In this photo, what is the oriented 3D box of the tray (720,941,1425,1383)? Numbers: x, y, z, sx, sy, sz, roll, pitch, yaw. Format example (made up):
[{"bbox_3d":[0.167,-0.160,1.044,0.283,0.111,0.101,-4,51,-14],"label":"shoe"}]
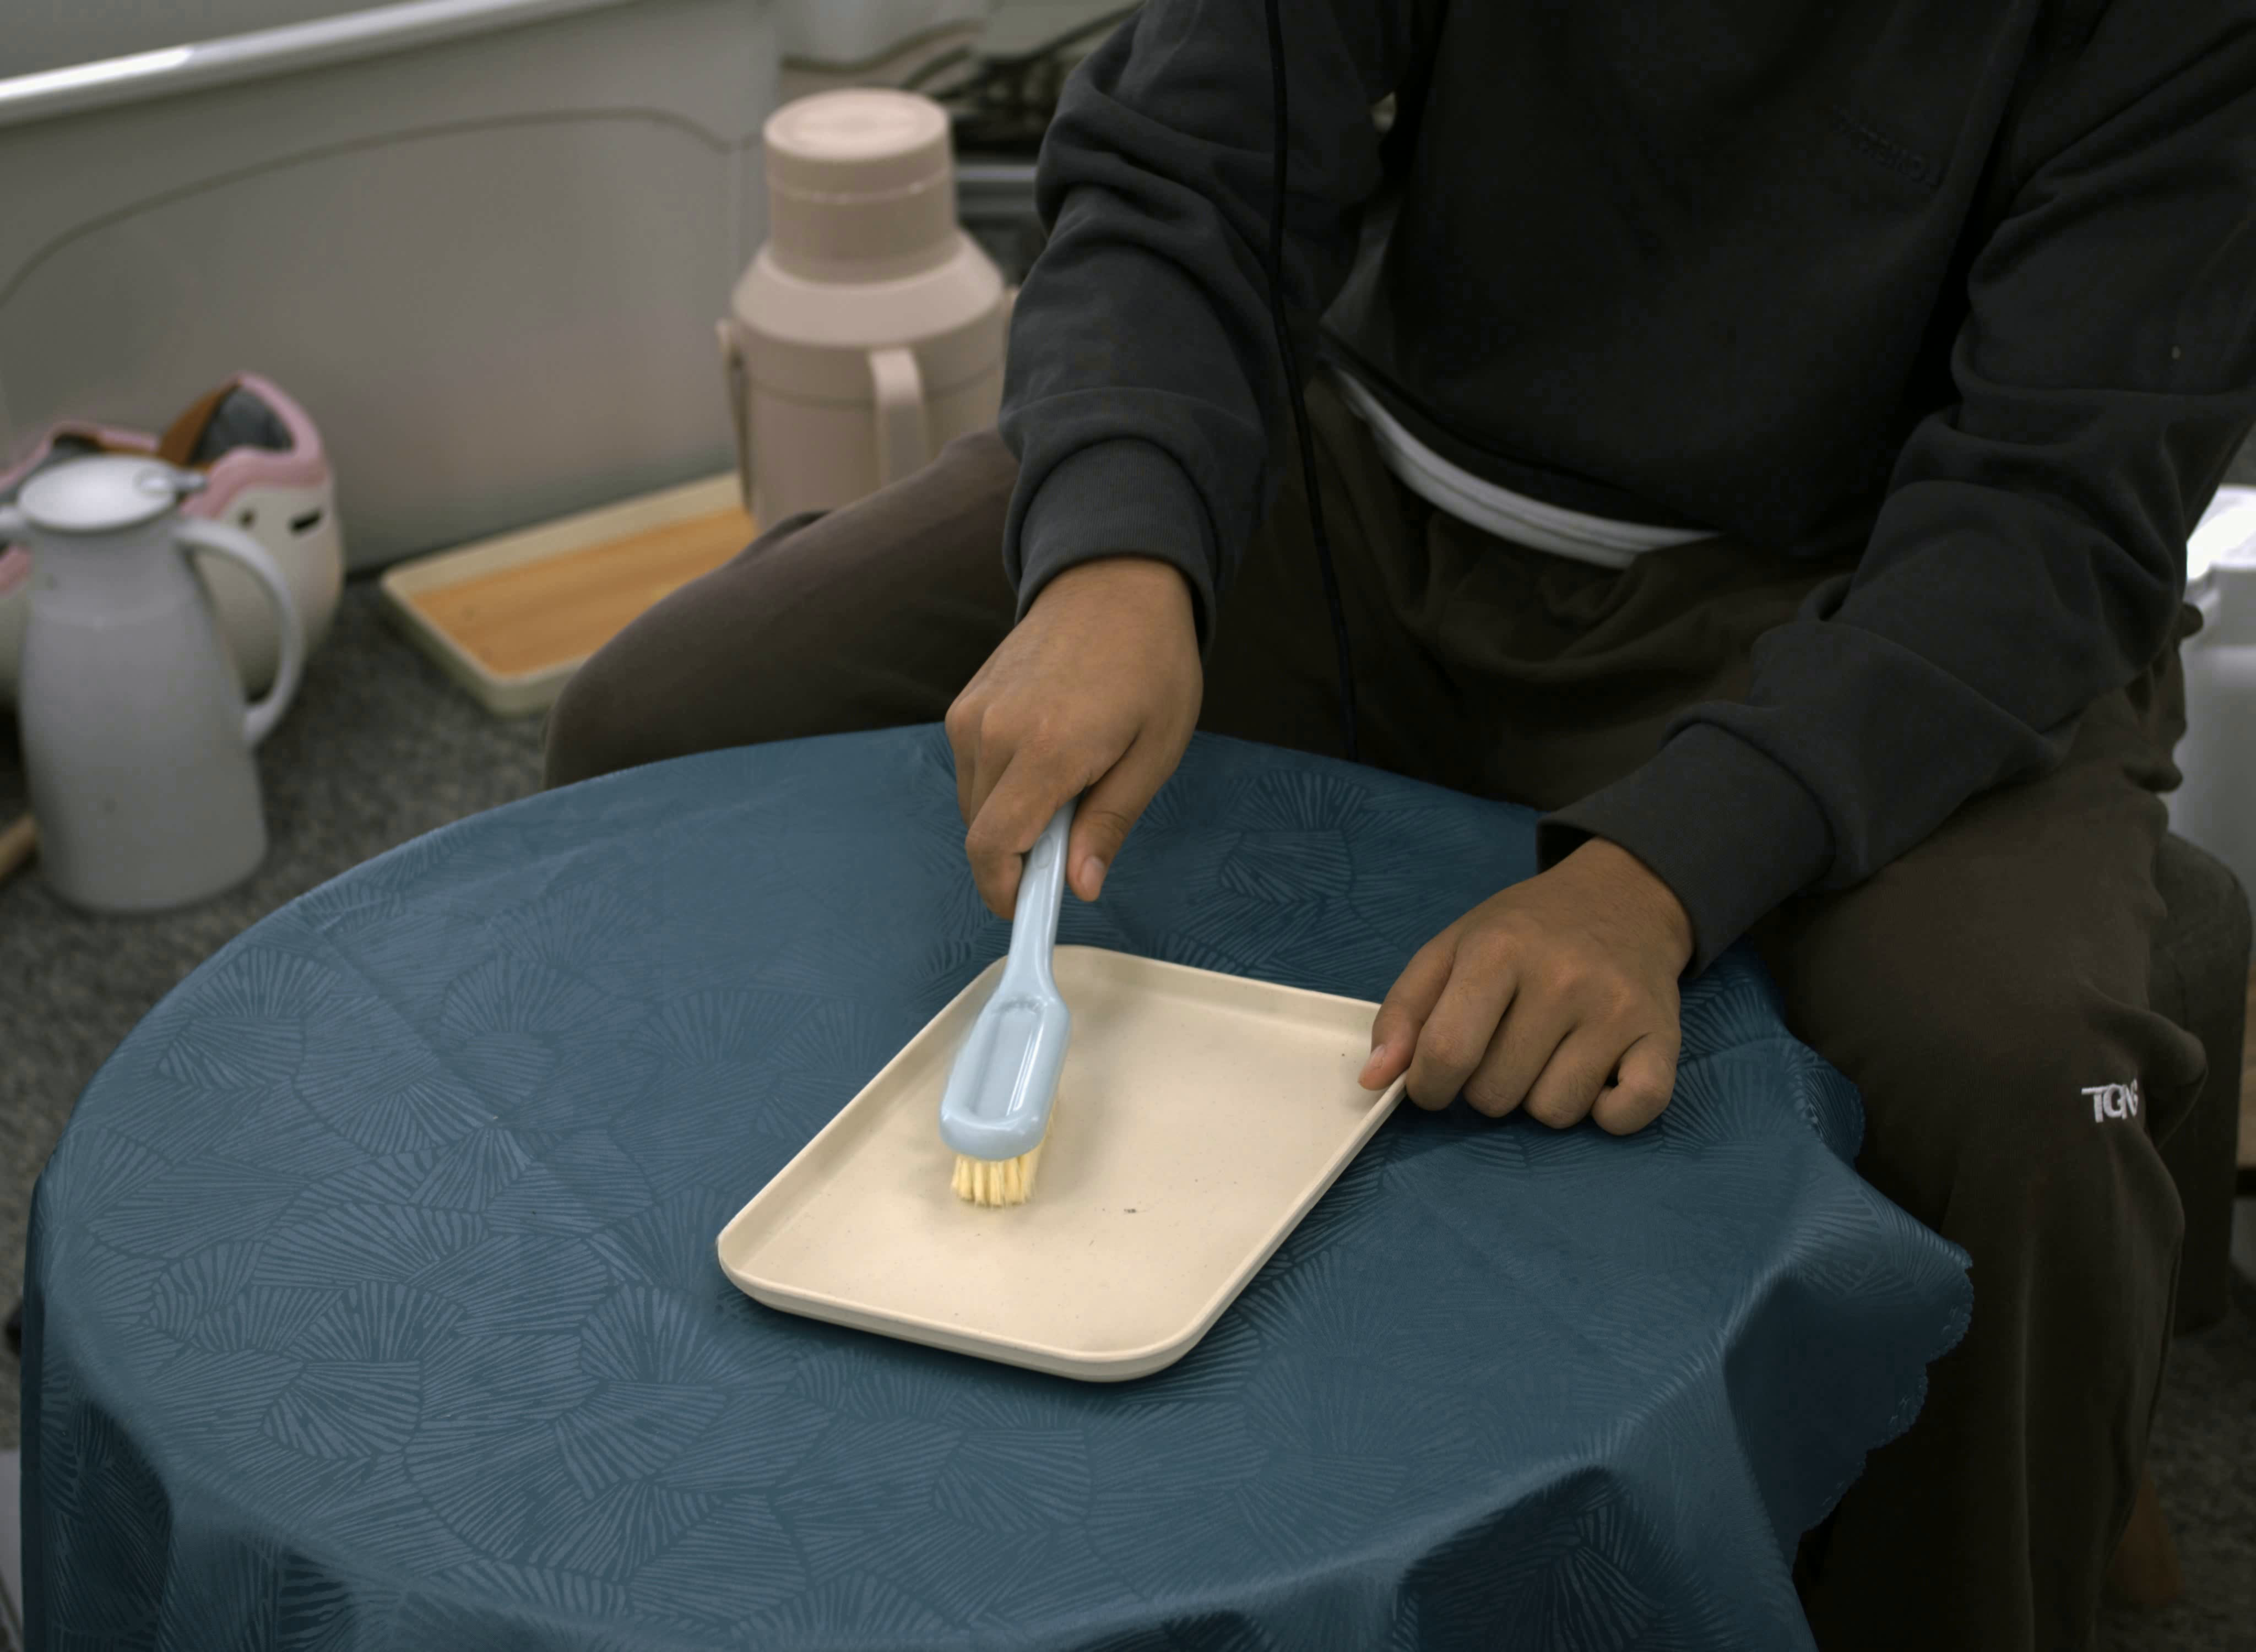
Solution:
[{"bbox_3d":[-0.015,0.110,1.868,0.170,0.017,0.244,11,30,23],"label":"tray"}]

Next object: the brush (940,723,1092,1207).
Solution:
[{"bbox_3d":[-0.034,0.043,1.931,0.037,0.049,0.233,2,42,5],"label":"brush"}]
